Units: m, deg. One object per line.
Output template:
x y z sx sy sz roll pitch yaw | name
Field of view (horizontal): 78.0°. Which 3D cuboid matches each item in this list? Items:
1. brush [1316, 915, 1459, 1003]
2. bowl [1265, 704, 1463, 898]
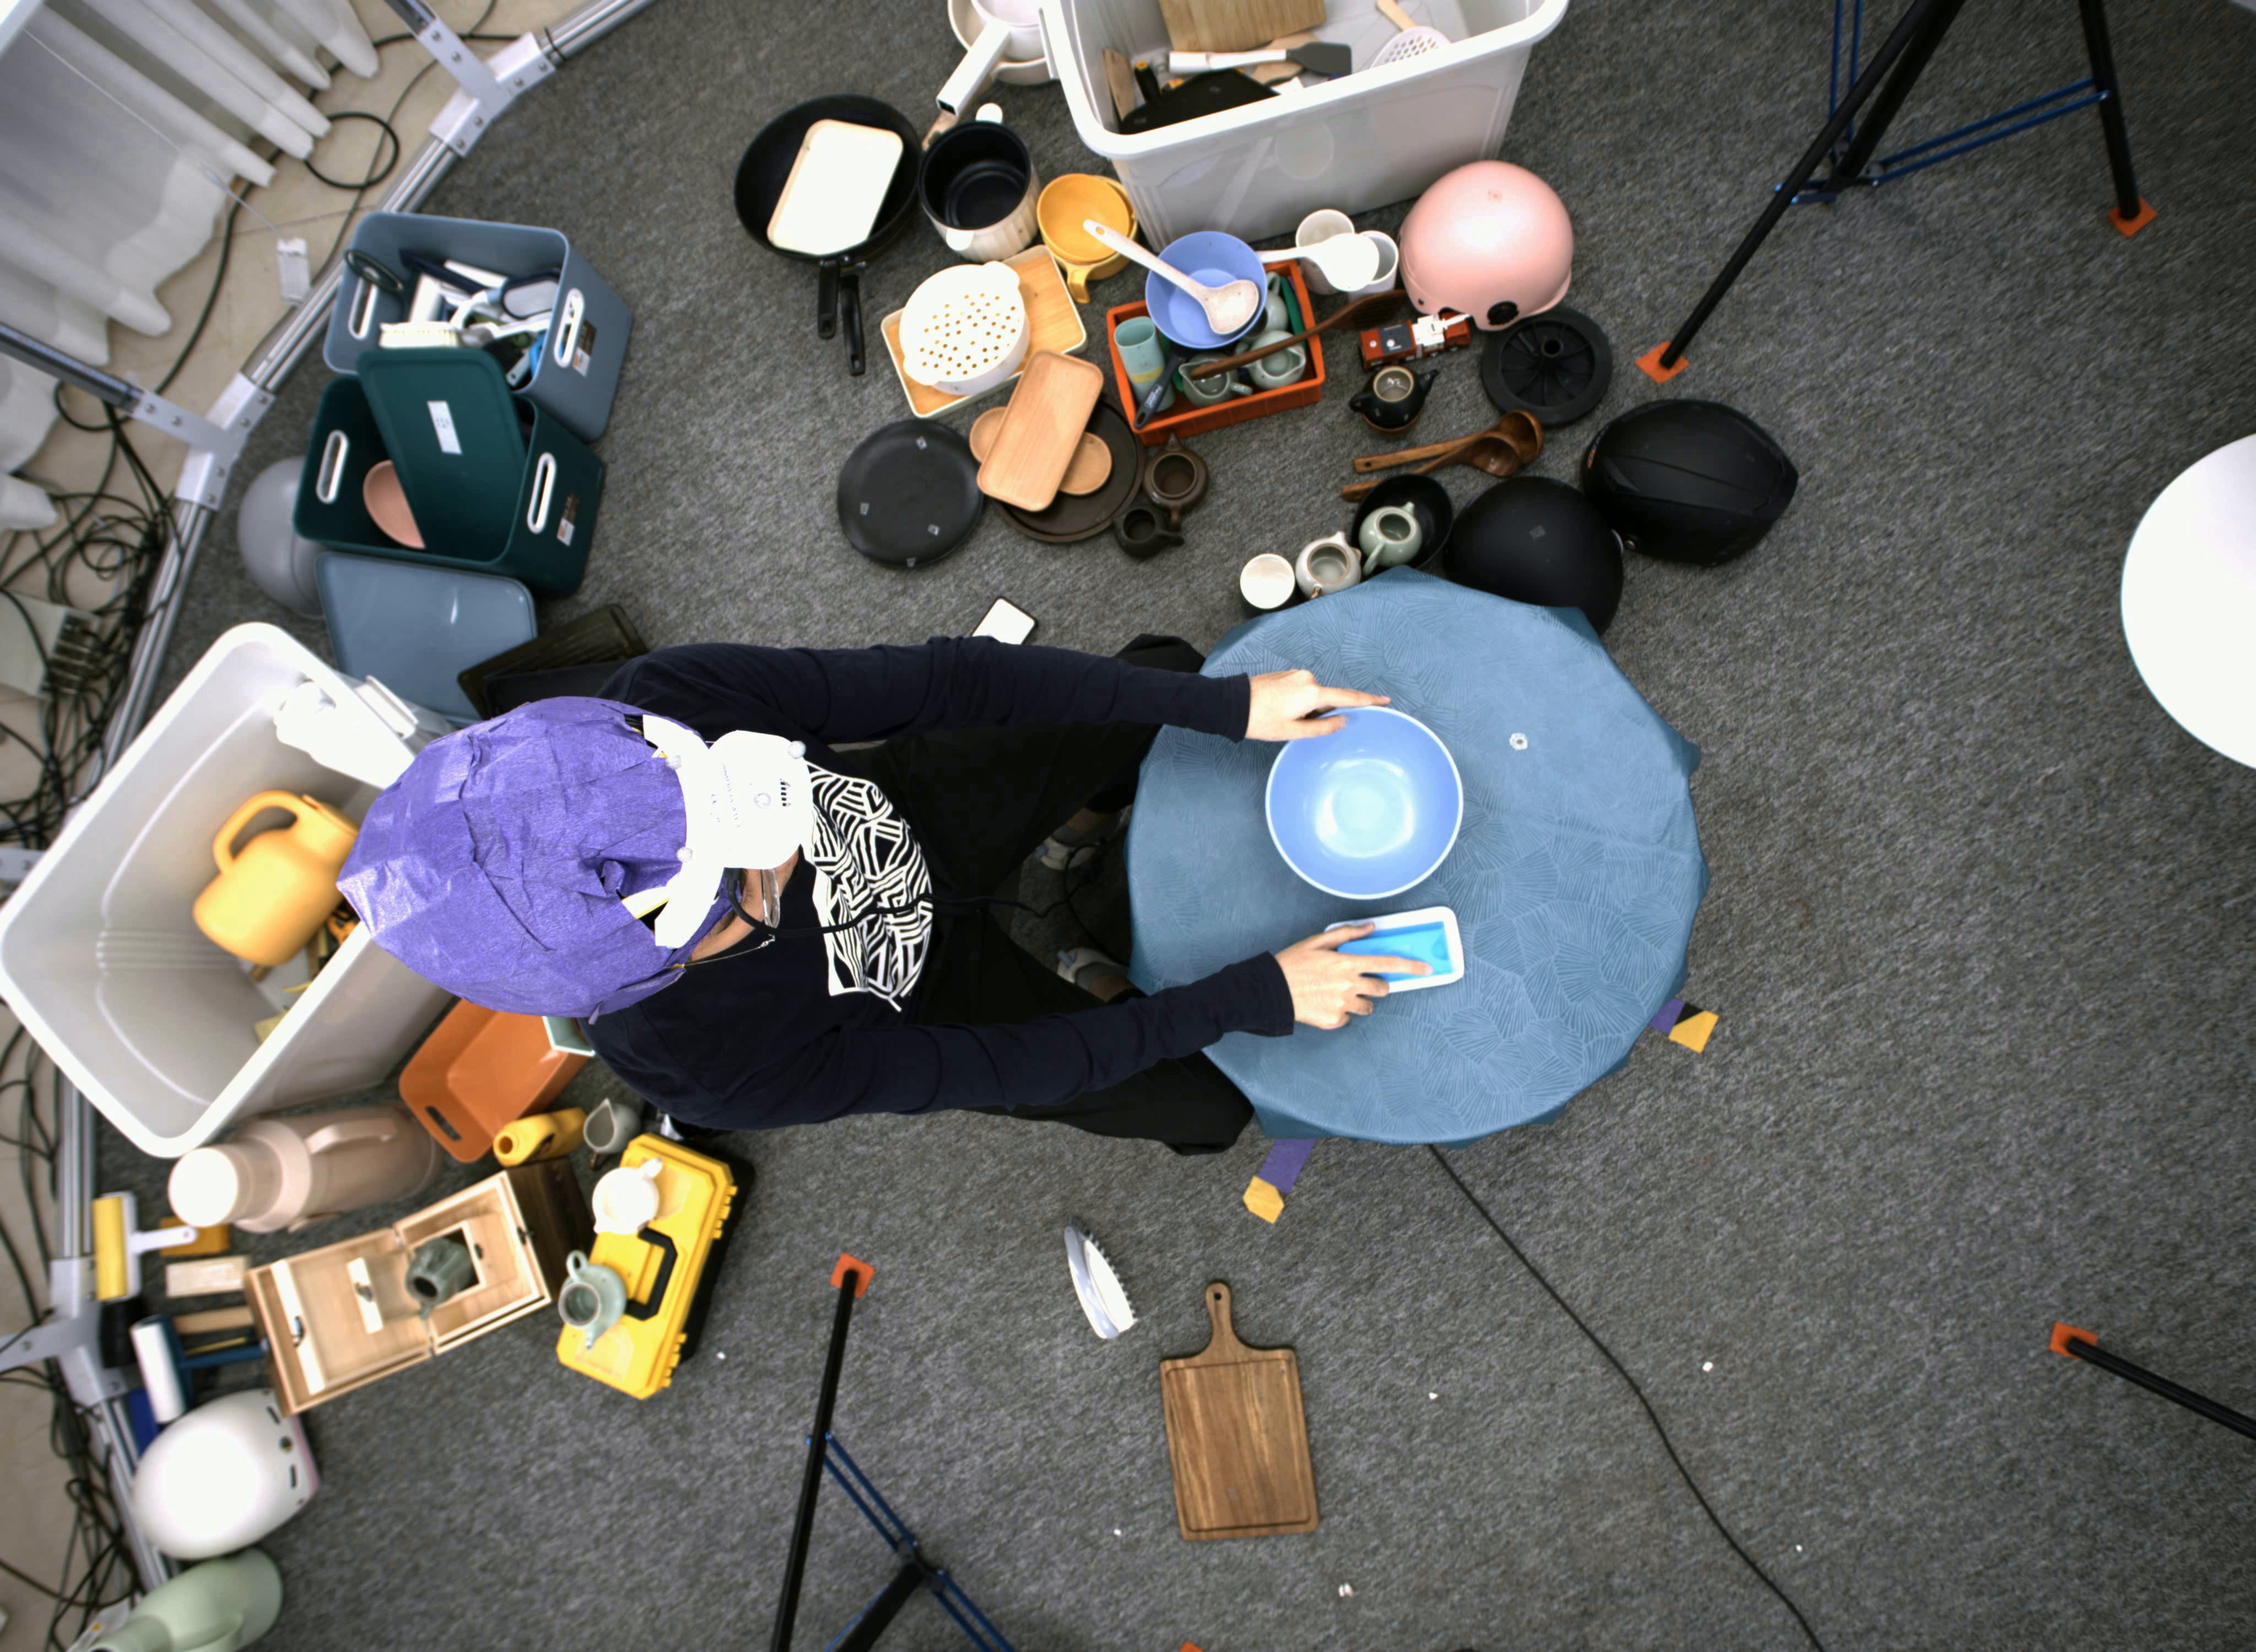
0.267 0.135 1.424 0.144 0.056 0.083 -8 87 7 | brush
0.242 -0.022 1.421 0.197 0.095 0.195 -1 85 9 | bowl
